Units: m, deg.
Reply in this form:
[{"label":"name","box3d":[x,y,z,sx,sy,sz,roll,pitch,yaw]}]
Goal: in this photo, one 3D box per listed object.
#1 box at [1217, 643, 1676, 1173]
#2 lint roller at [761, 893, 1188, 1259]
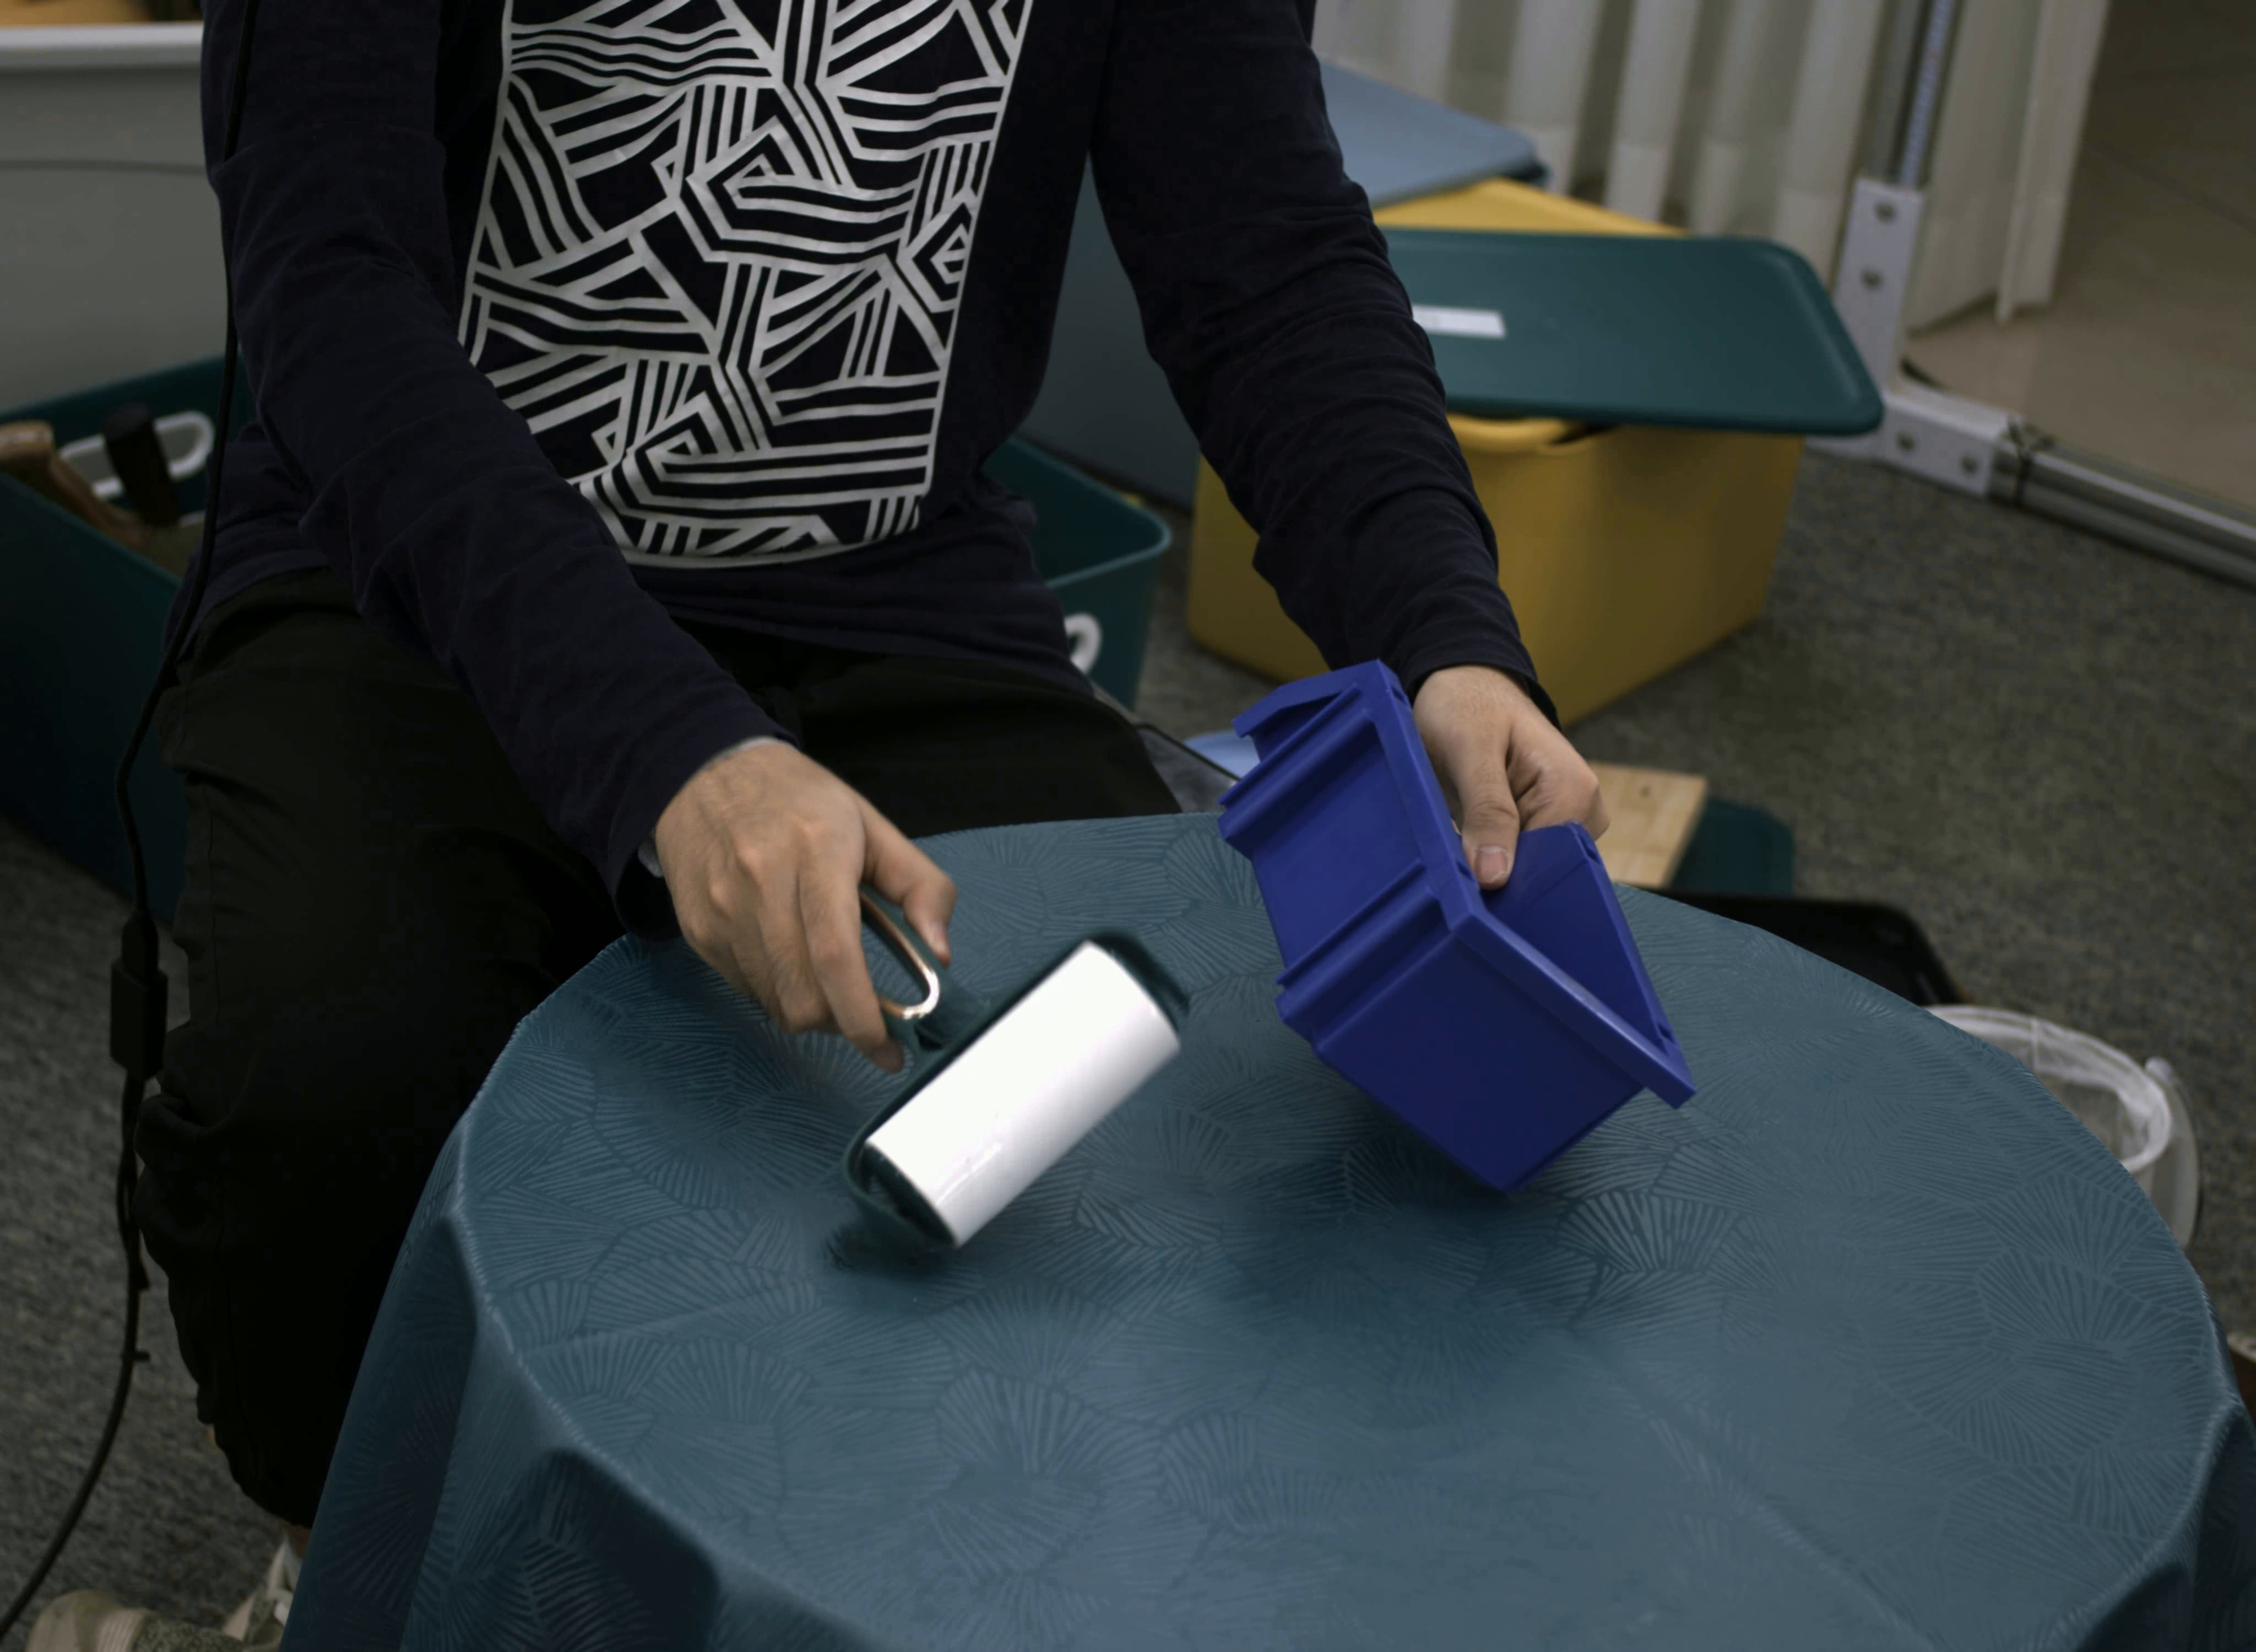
[{"label":"box","box3d":[0.104,0.024,1.847,0.123,0.082,0.181,37,24,-29]},{"label":"lint roller","box3d":[-0.076,0.059,1.798,0.134,0.048,0.182,-39,49,-13]}]
